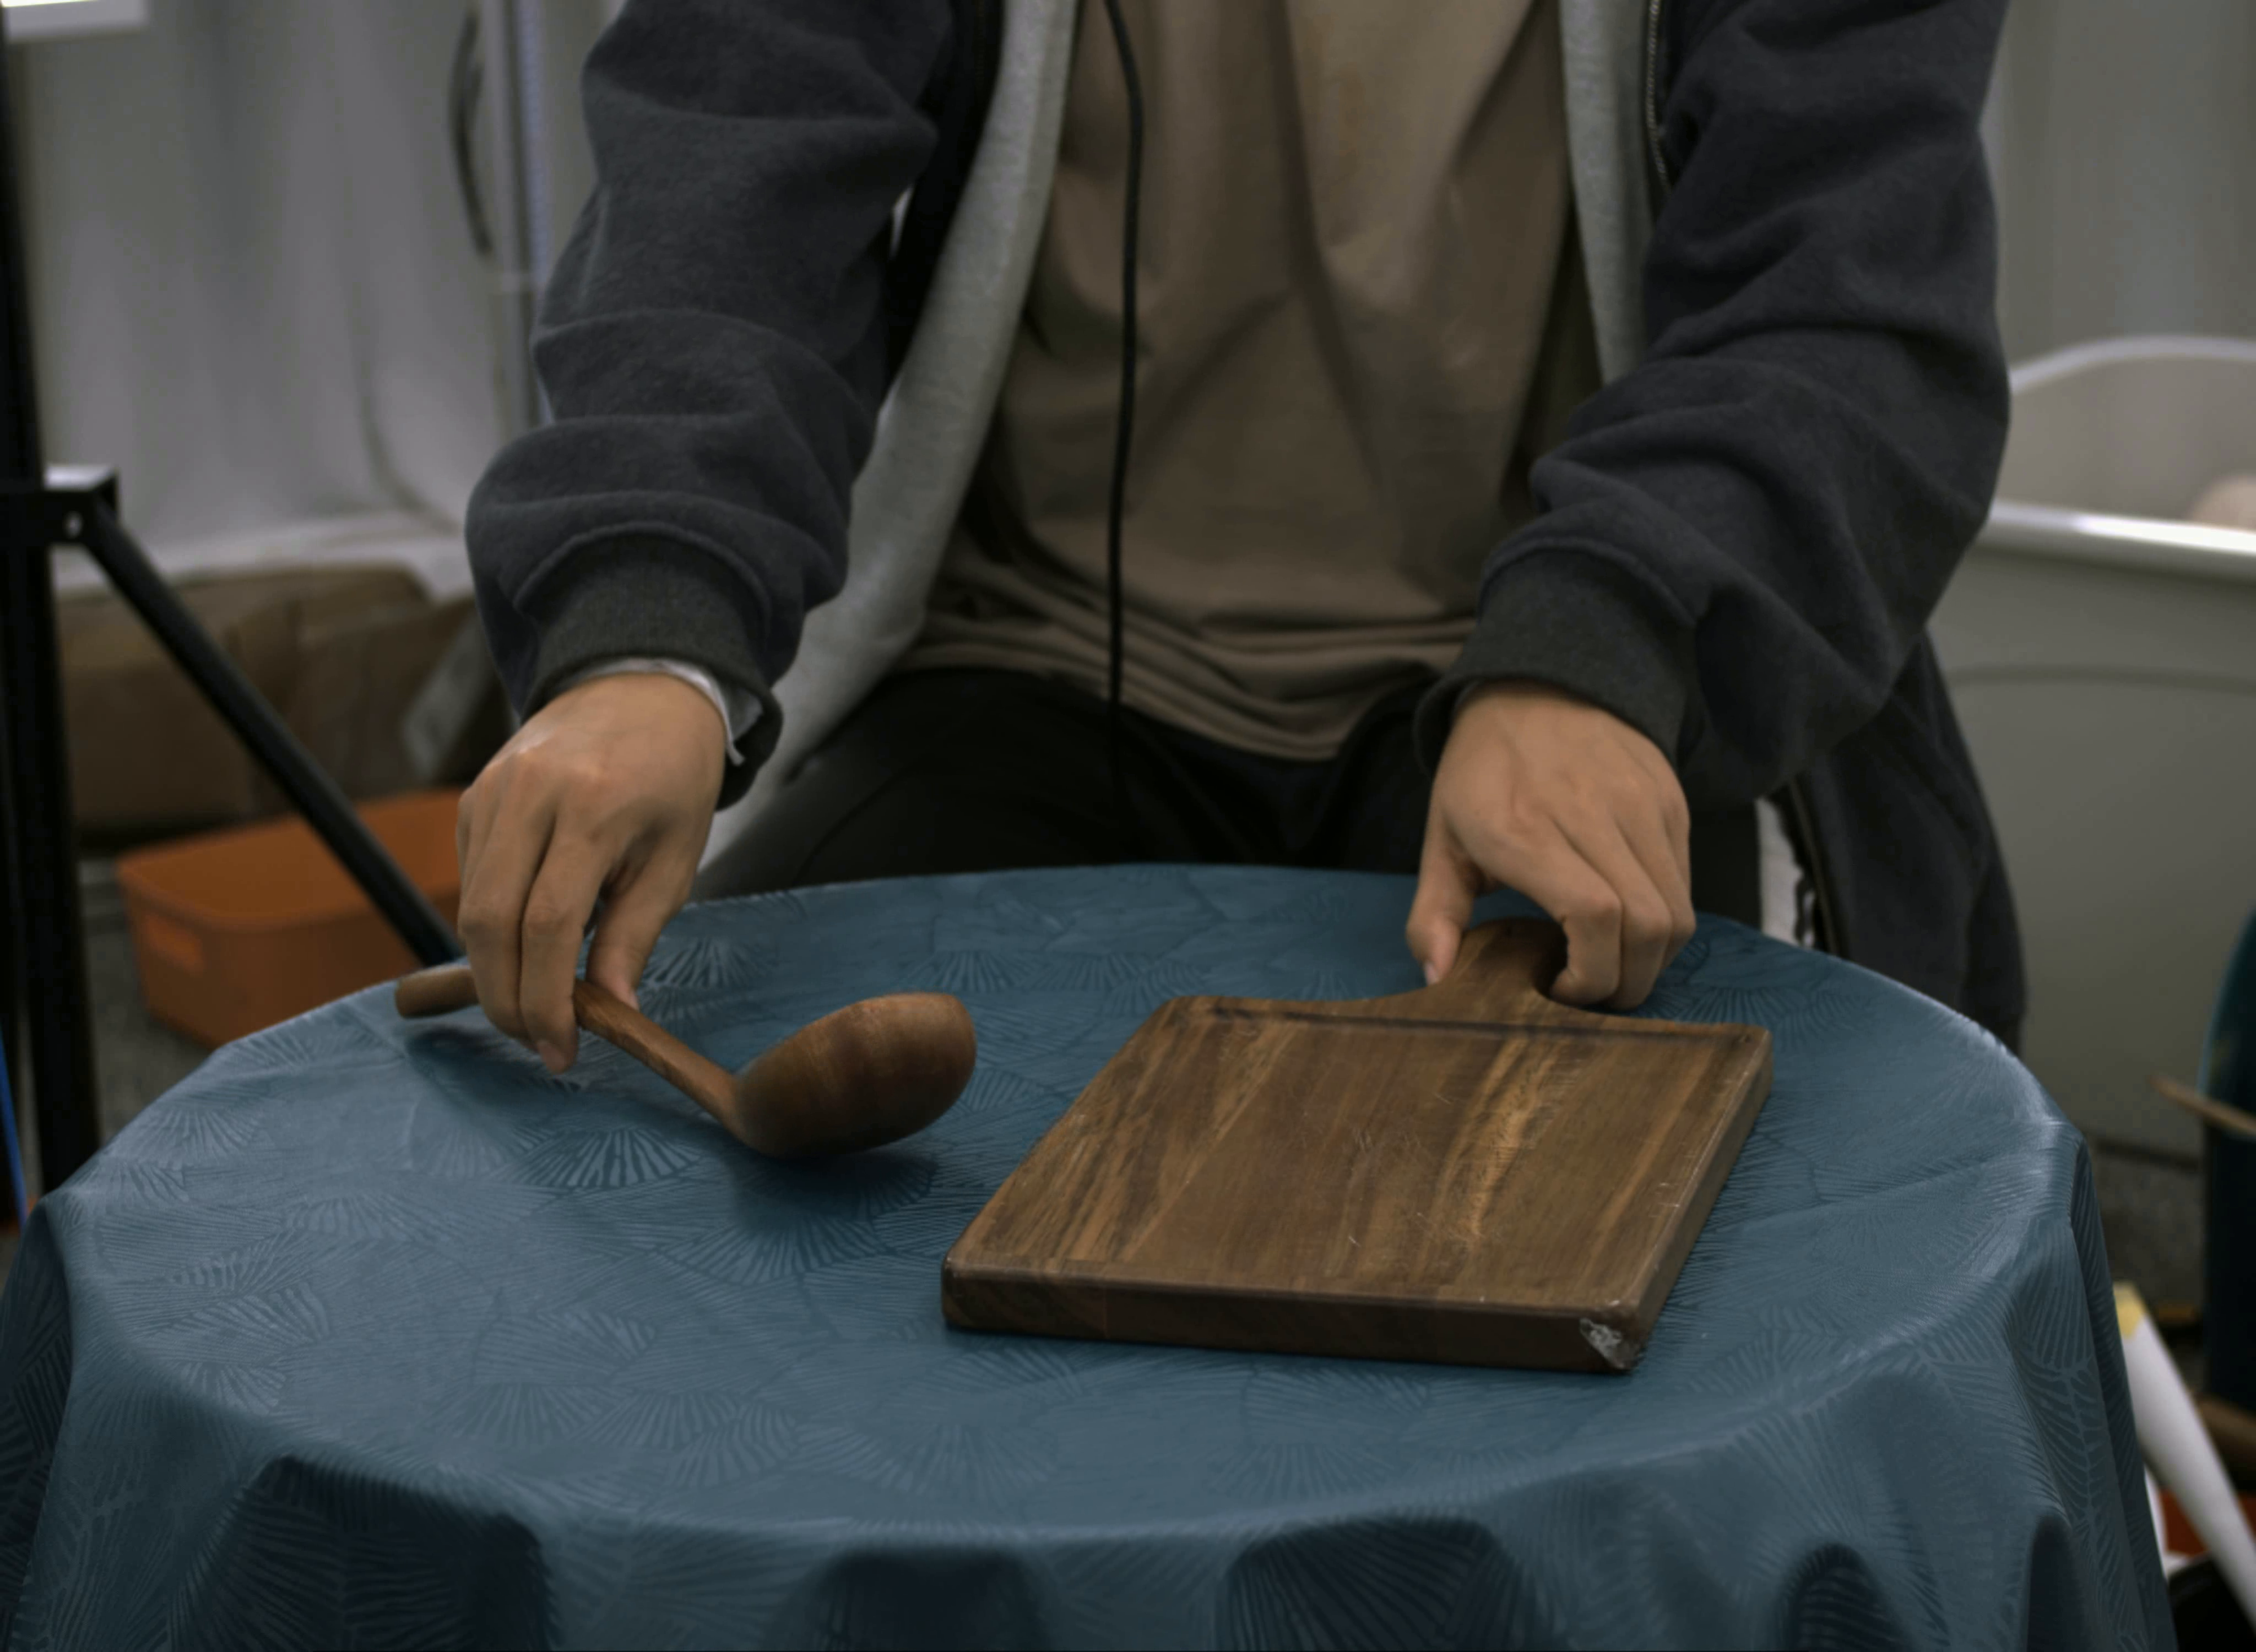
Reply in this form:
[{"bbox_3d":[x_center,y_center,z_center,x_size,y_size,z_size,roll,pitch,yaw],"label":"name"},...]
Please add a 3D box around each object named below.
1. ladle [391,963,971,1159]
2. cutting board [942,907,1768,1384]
[{"bbox_3d":[-0.146,0.055,1.651,0.074,0.065,0.266,4,8,-41],"label":"ladle"},{"bbox_3d":[0.085,0.086,1.583,0.203,0.023,0.349,3,17,15],"label":"cutting board"}]
